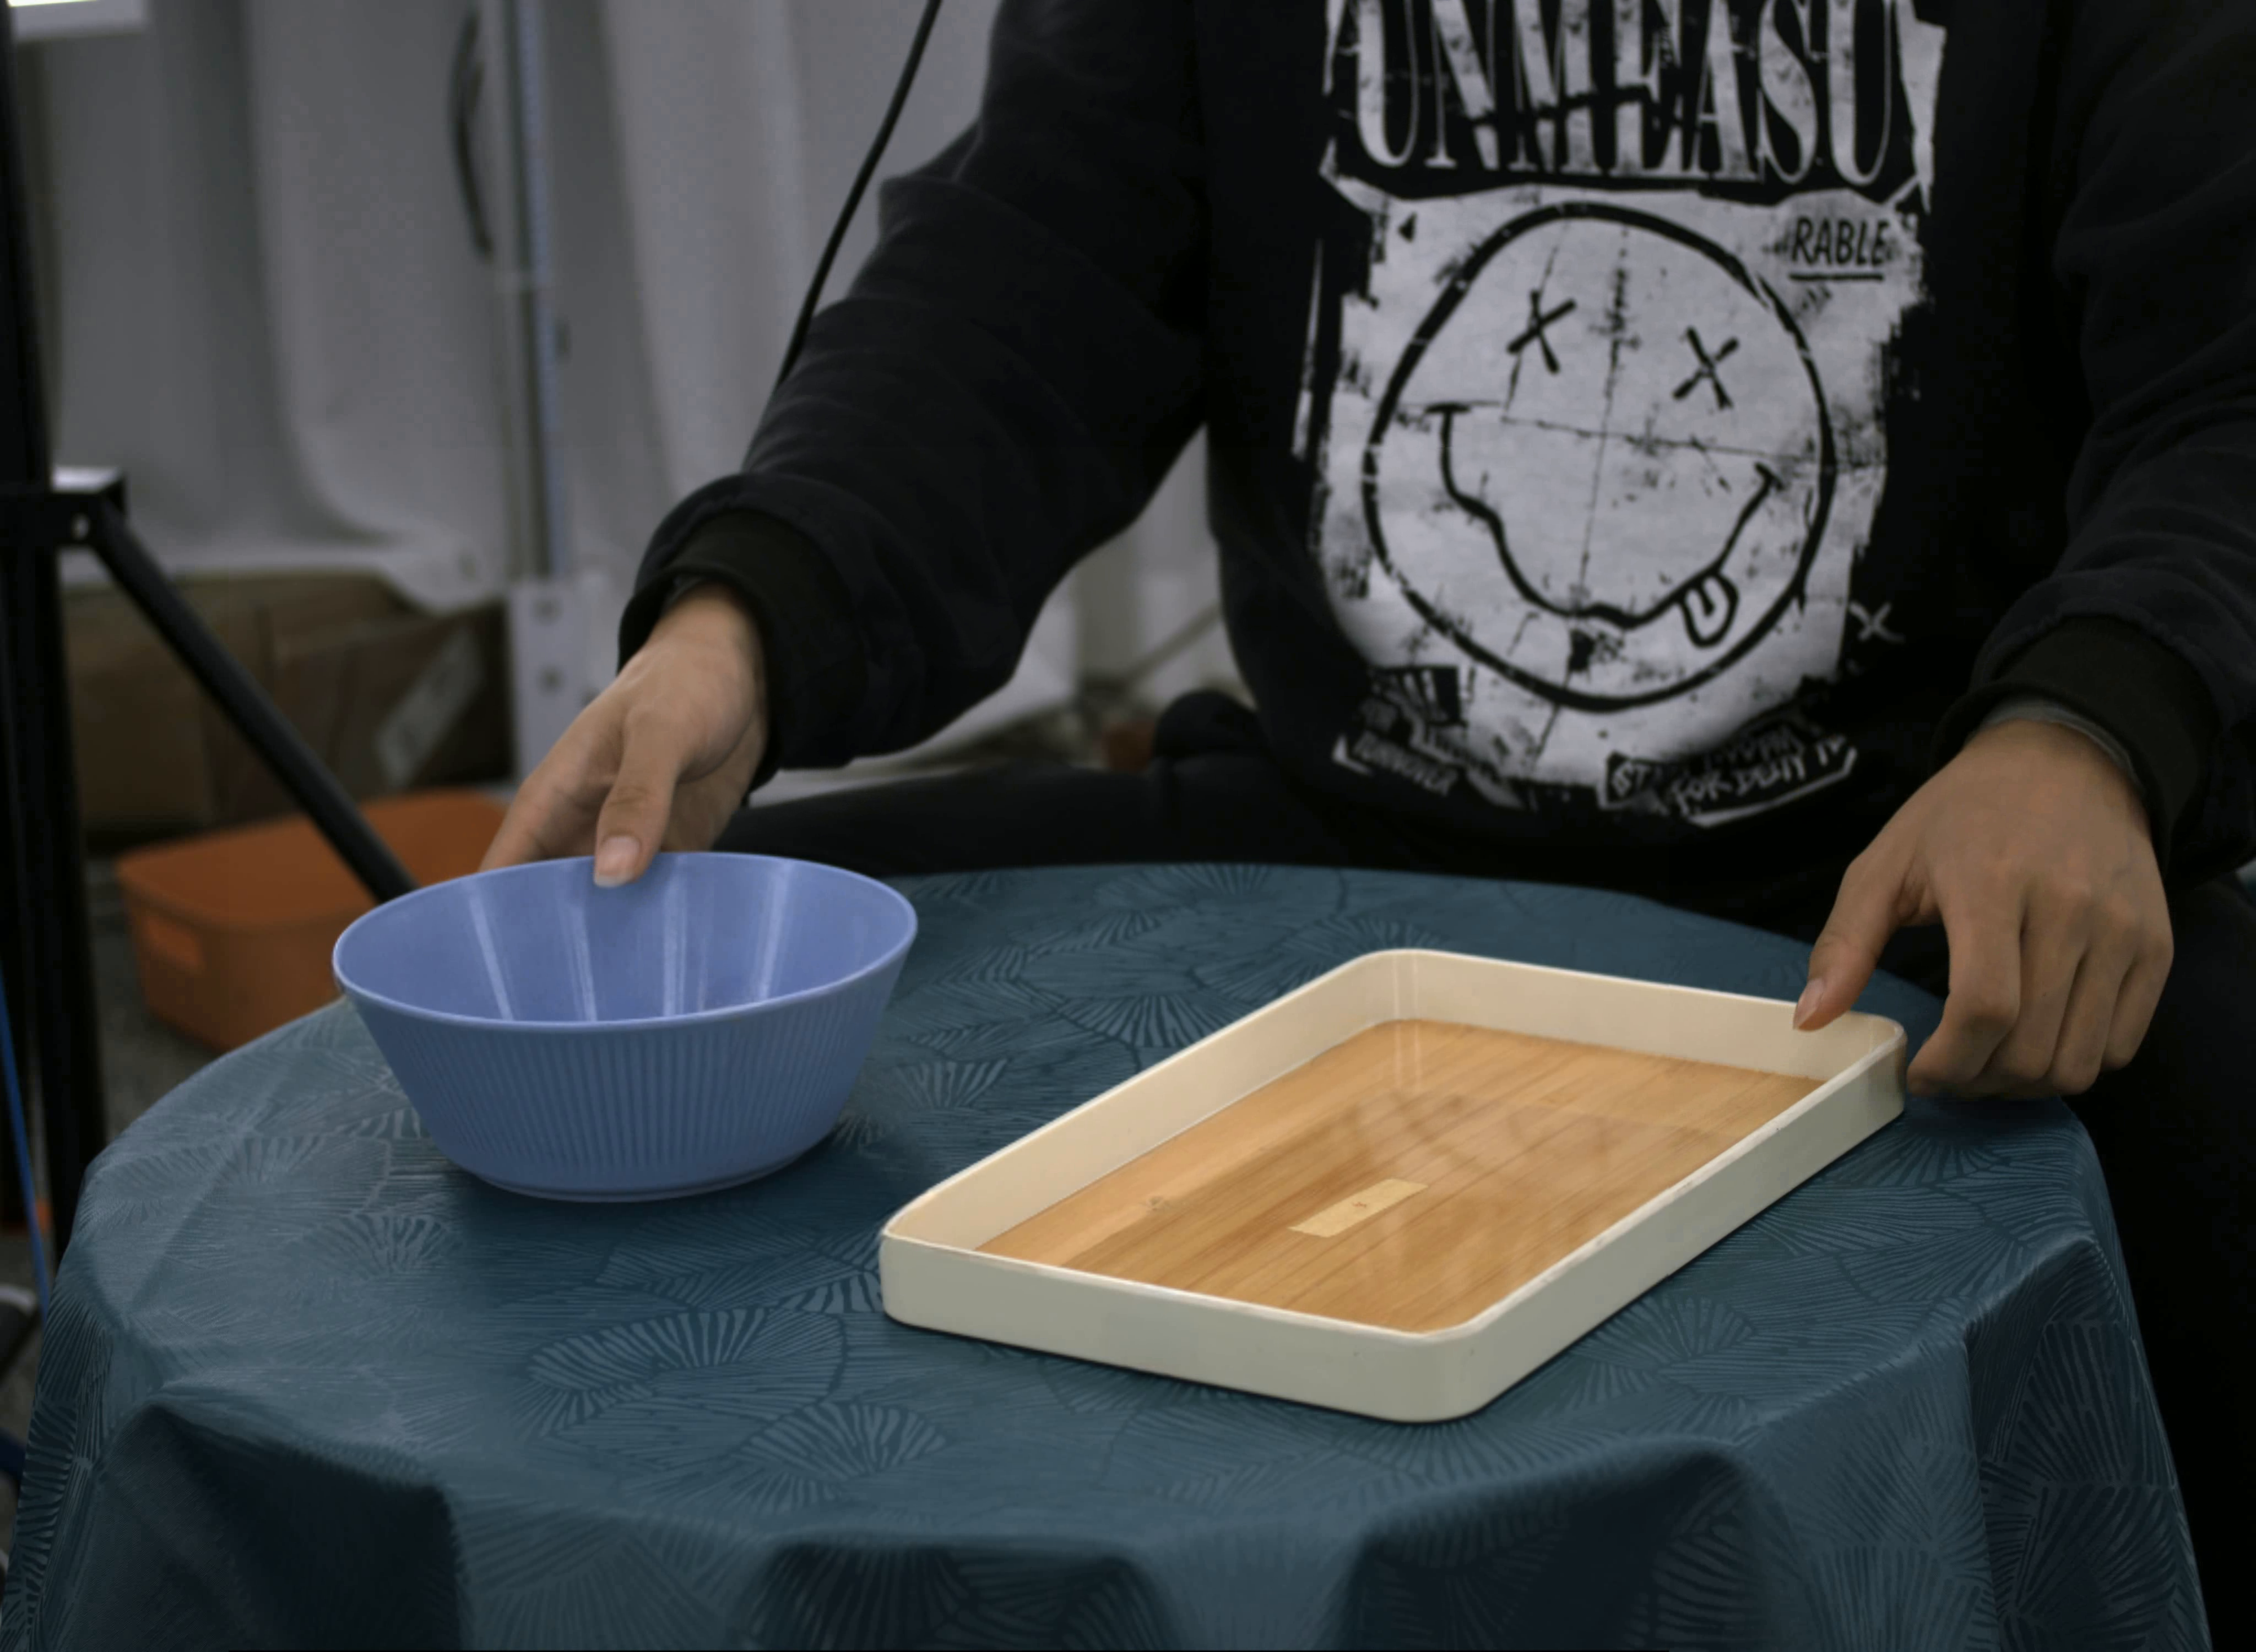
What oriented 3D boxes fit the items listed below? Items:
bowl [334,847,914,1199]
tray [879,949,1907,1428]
[{"bbox_3d":[-0.150,0.062,1.615,0.175,0.070,0.177,-2,17,-1],"label":"bowl"},{"bbox_3d":[0.083,0.099,1.529,0.195,0.027,0.294,8,19,32],"label":"tray"}]
